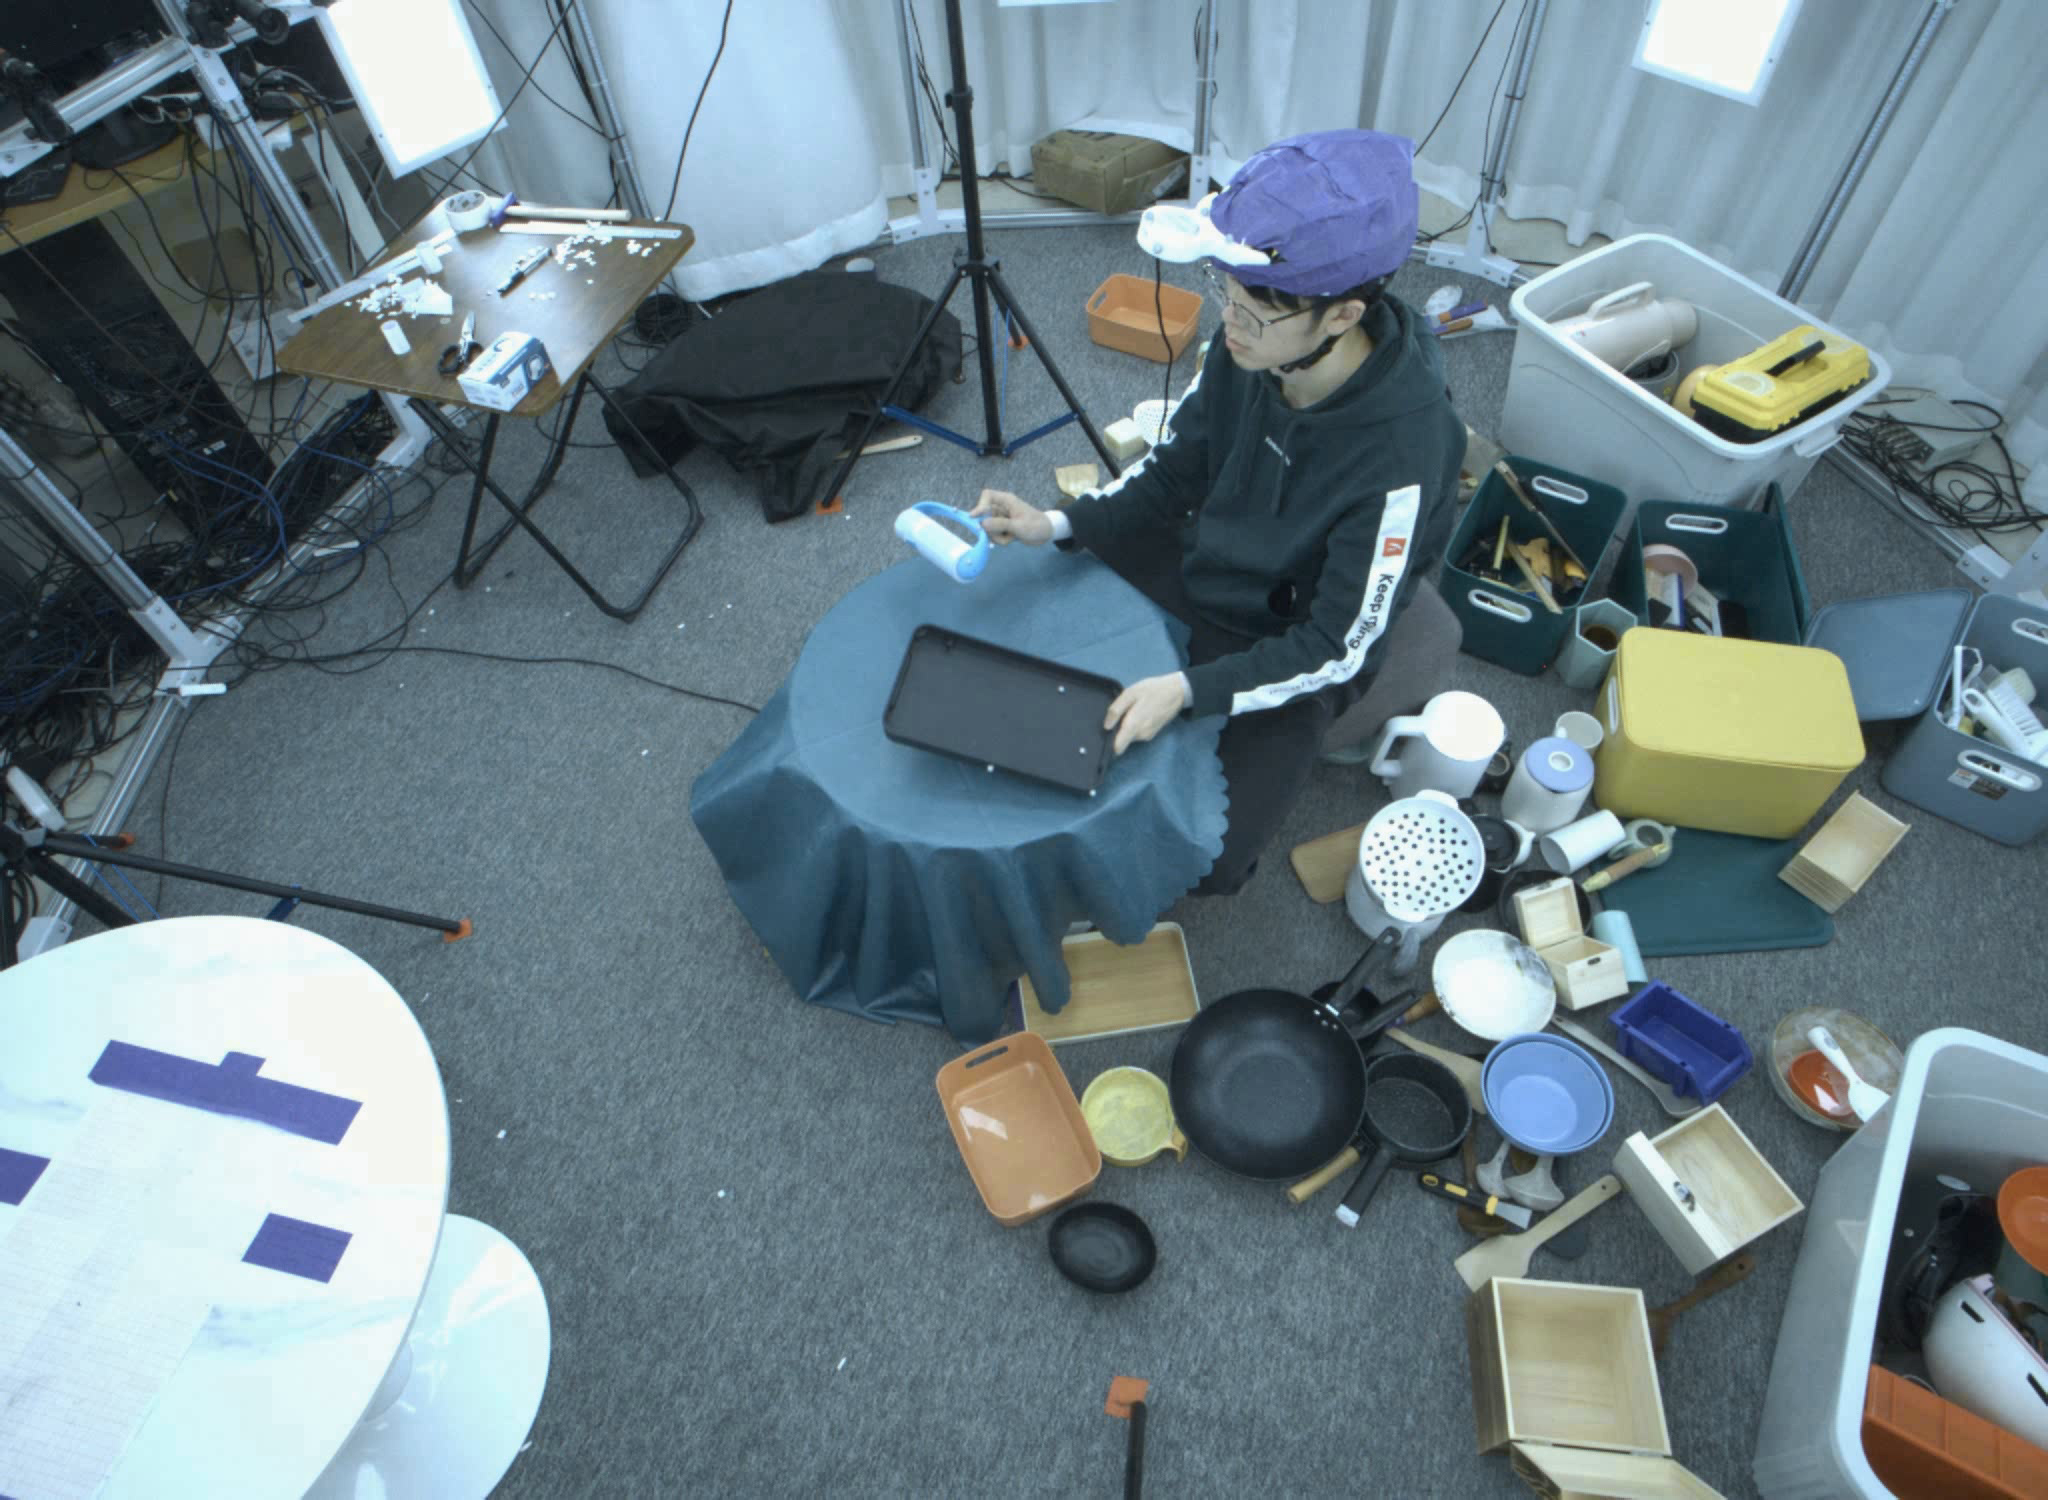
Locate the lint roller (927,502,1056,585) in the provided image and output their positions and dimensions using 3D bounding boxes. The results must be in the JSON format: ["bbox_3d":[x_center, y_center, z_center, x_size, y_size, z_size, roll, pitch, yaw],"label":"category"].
[{"bbox_3d":[-0.033,-0.329,1.877,0.183,0.068,0.223,-19,37,-26],"label":"lint roller"}]

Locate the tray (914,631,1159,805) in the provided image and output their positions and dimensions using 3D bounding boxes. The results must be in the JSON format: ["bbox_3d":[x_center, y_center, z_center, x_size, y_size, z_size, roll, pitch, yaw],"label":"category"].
[{"bbox_3d":[0.019,-0.045,1.729,0.318,0.037,0.183,16,65,-1],"label":"tray"}]
